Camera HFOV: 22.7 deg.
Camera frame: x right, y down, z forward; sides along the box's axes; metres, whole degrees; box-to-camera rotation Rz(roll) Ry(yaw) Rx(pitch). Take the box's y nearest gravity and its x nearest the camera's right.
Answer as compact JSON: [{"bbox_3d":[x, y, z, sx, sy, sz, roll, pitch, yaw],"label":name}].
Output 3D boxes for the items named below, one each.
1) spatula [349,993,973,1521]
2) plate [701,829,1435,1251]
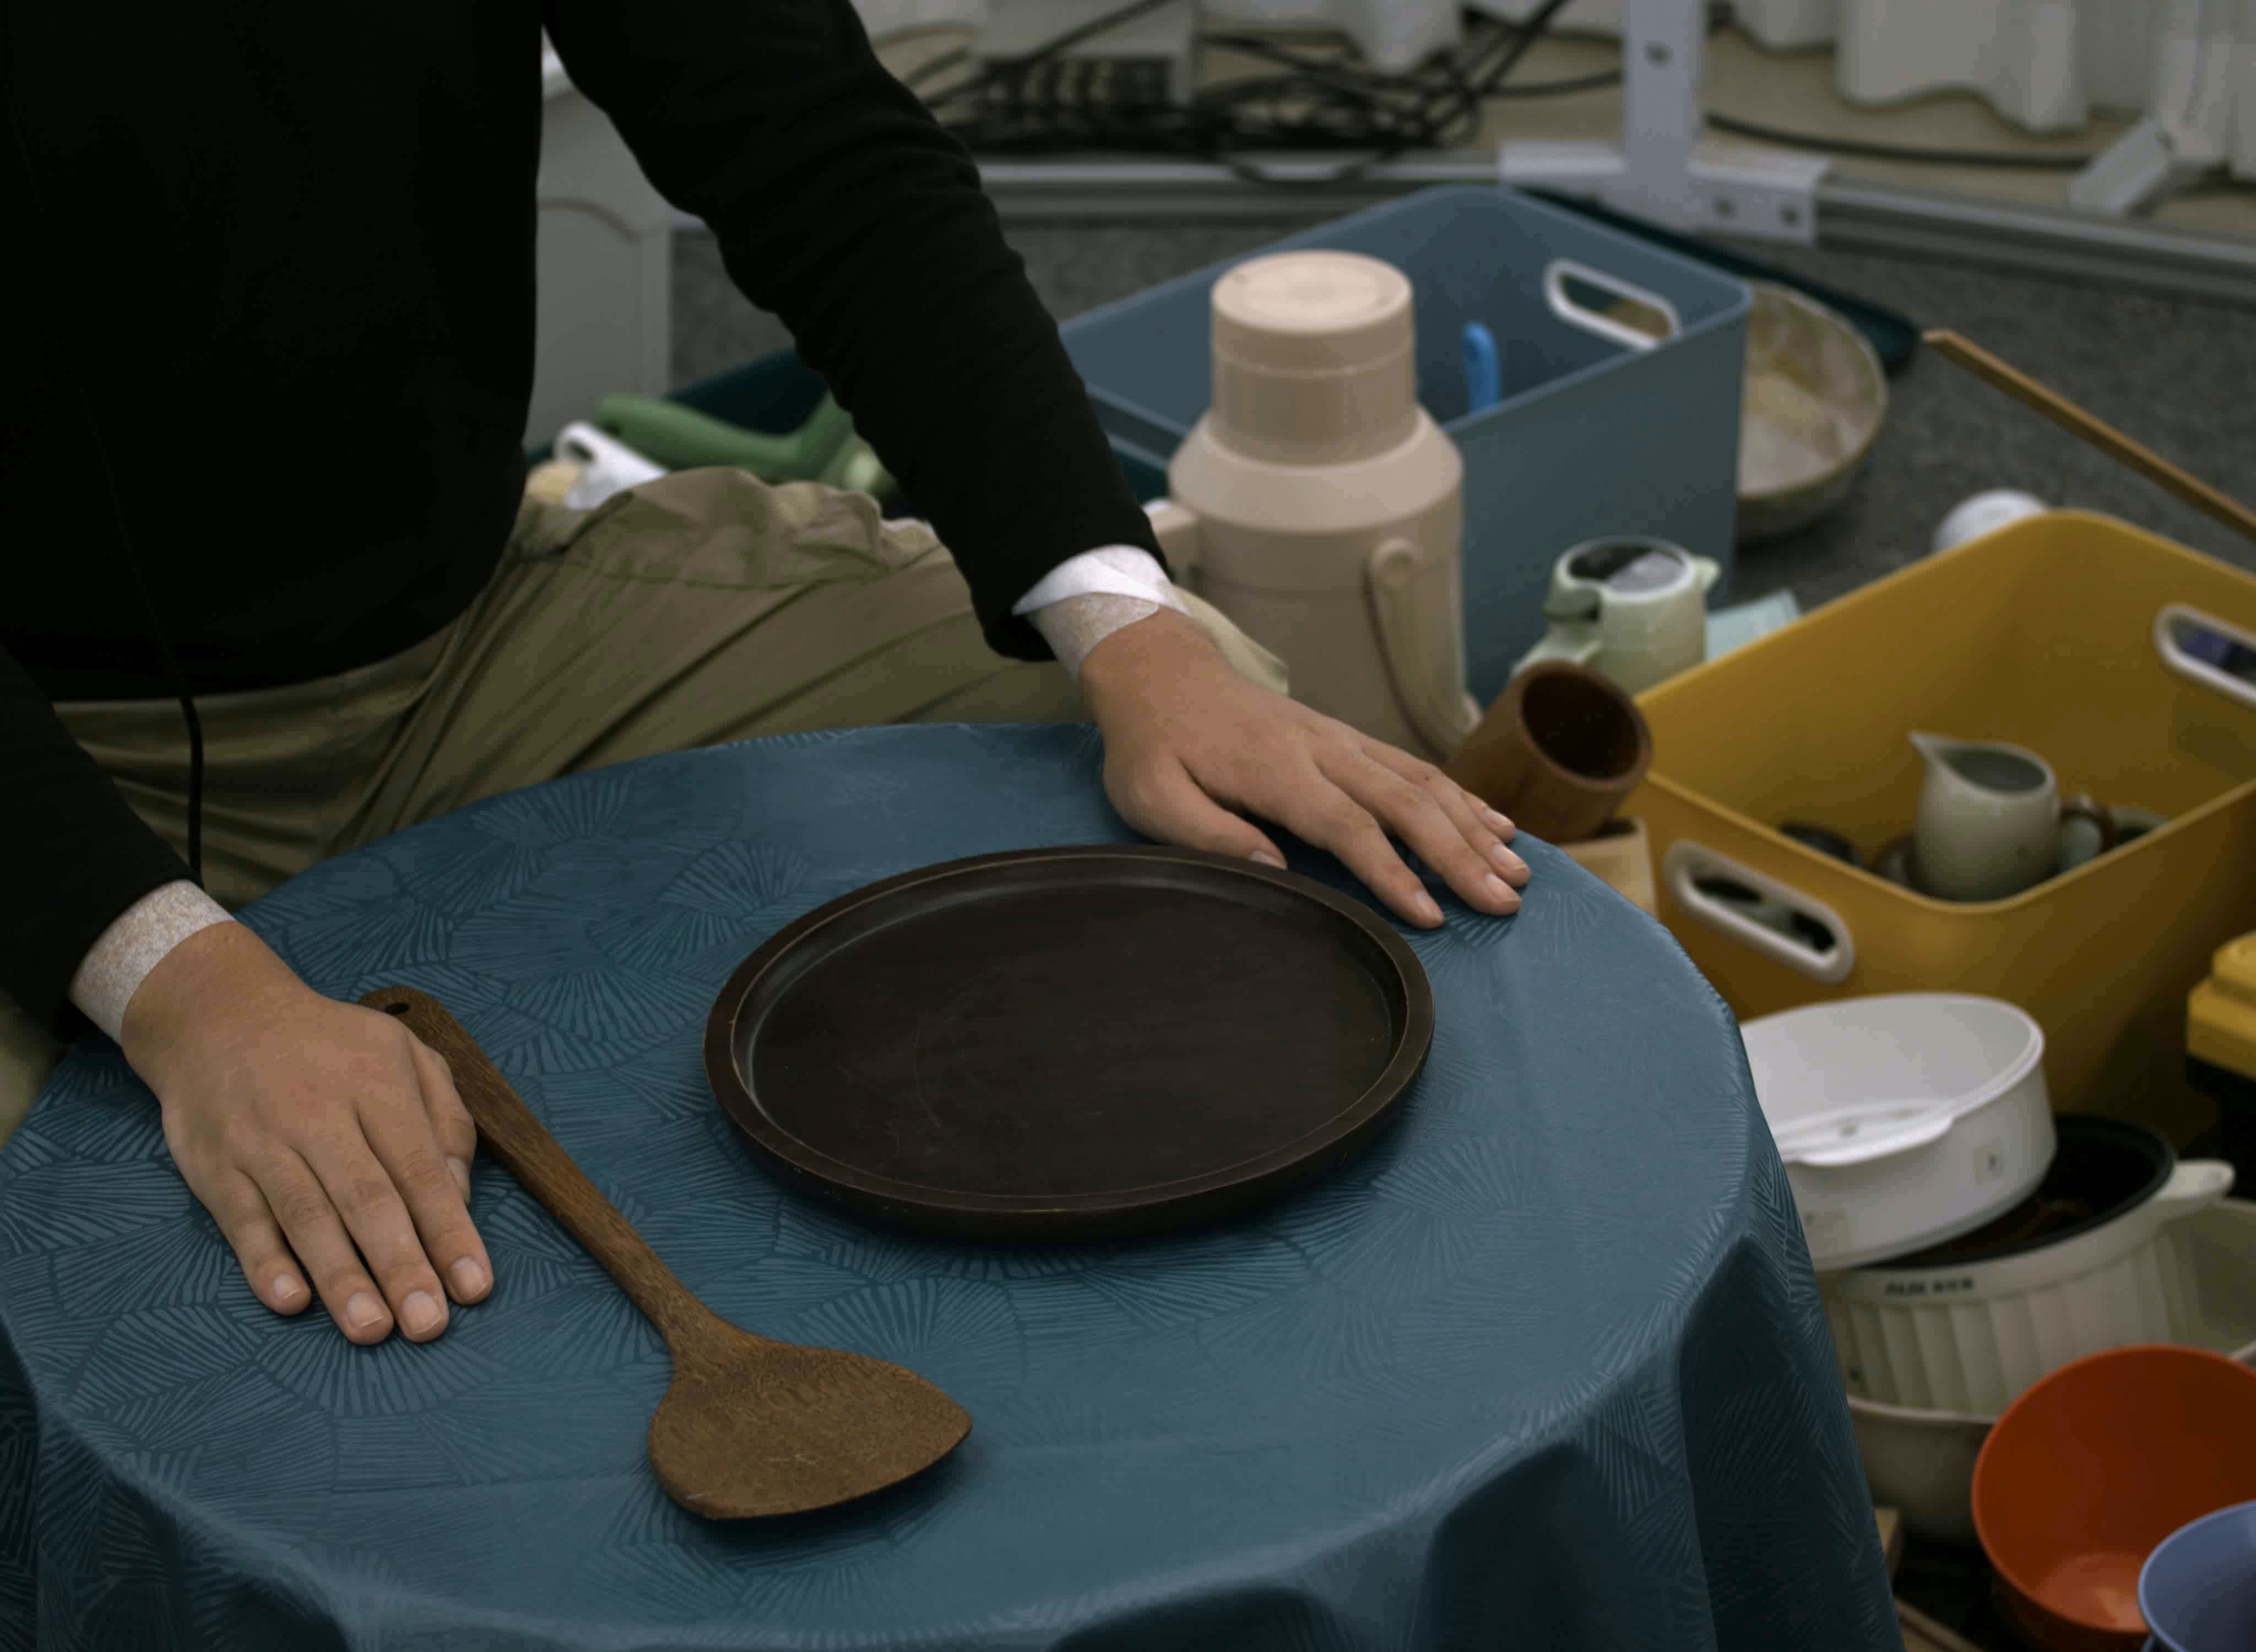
[{"bbox_3d":[-0.174,0.132,1.842,0.096,0.015,0.387,-16,30,-25],"label":"spatula"},{"bbox_3d":[-0.020,0.075,1.928,0.253,0.029,0.259,-3,28,2],"label":"plate"}]
